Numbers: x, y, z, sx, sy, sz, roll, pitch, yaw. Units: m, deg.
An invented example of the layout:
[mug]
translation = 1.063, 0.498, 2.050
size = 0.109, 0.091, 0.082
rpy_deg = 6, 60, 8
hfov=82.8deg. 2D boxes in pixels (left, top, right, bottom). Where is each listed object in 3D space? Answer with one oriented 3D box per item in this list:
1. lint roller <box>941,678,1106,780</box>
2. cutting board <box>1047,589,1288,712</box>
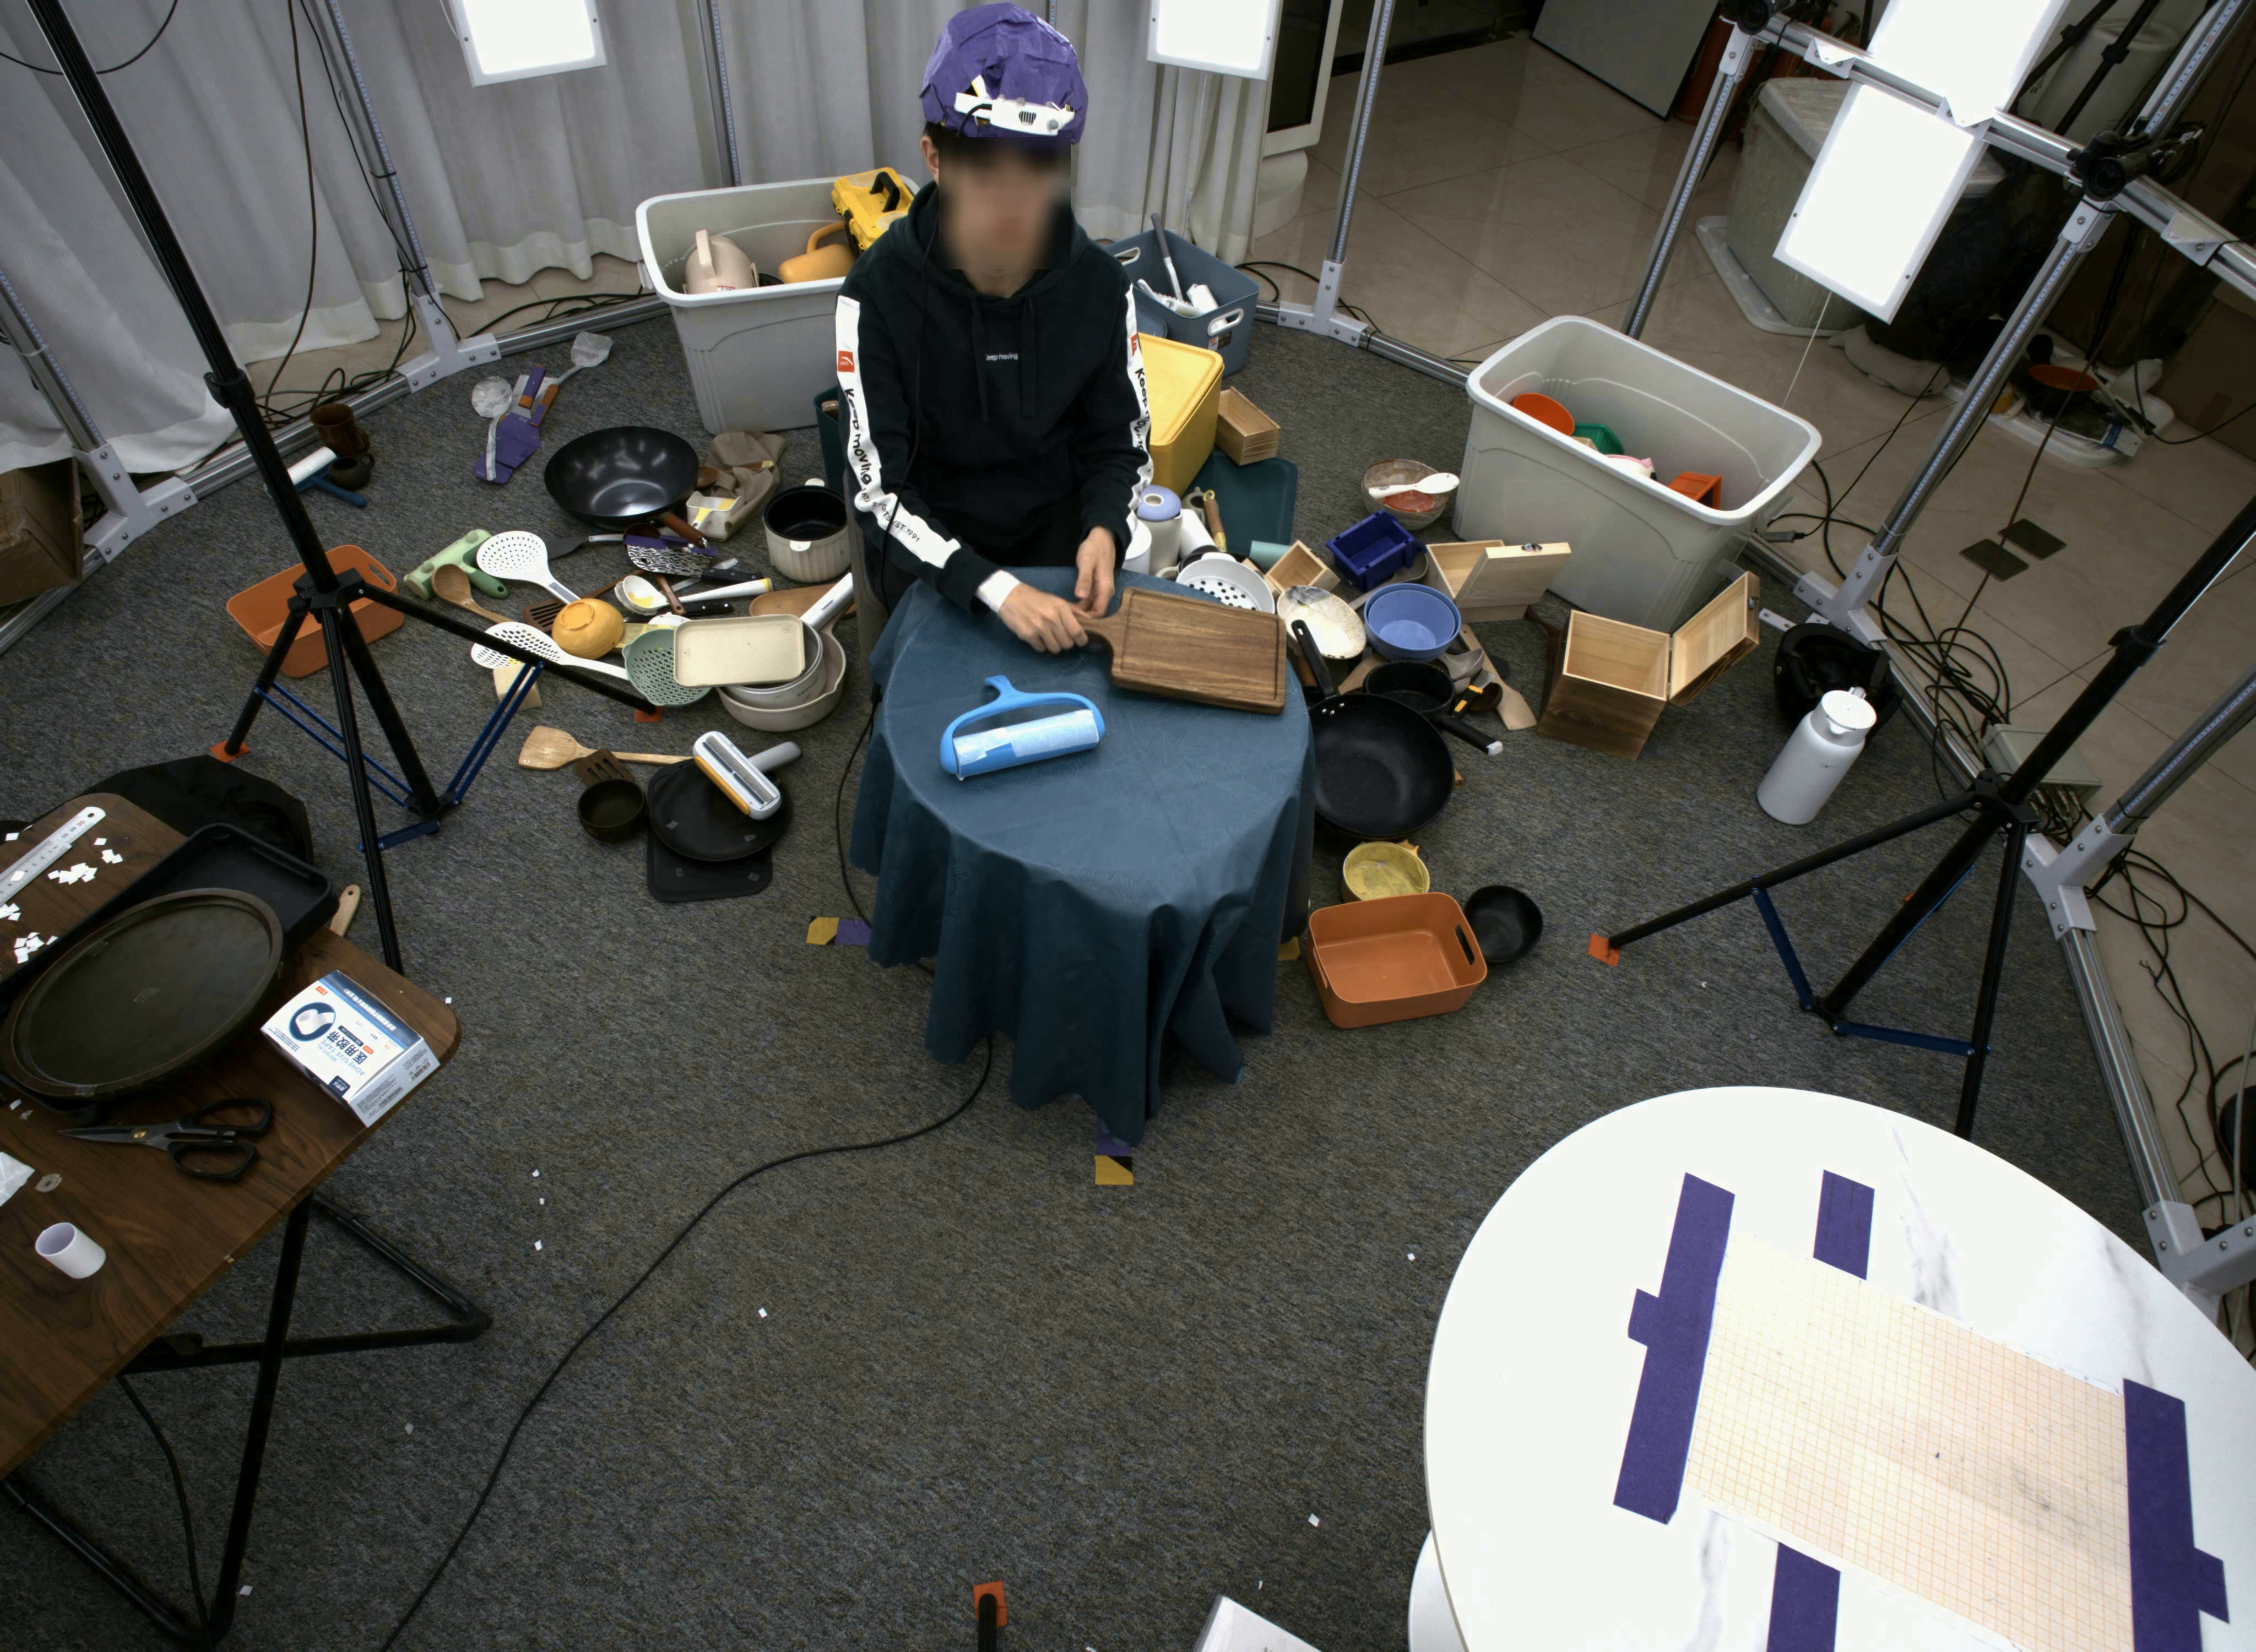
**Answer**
[lint roller]
translation = -0.161, -0.155, 1.755
size = 0.229, 0.066, 0.184
rpy_deg = -17, 54, -16
[cutting board]
translation = 0.058, -0.265, 1.867
size = 0.351, 0.022, 0.206
rpy_deg = 9, 49, -3
